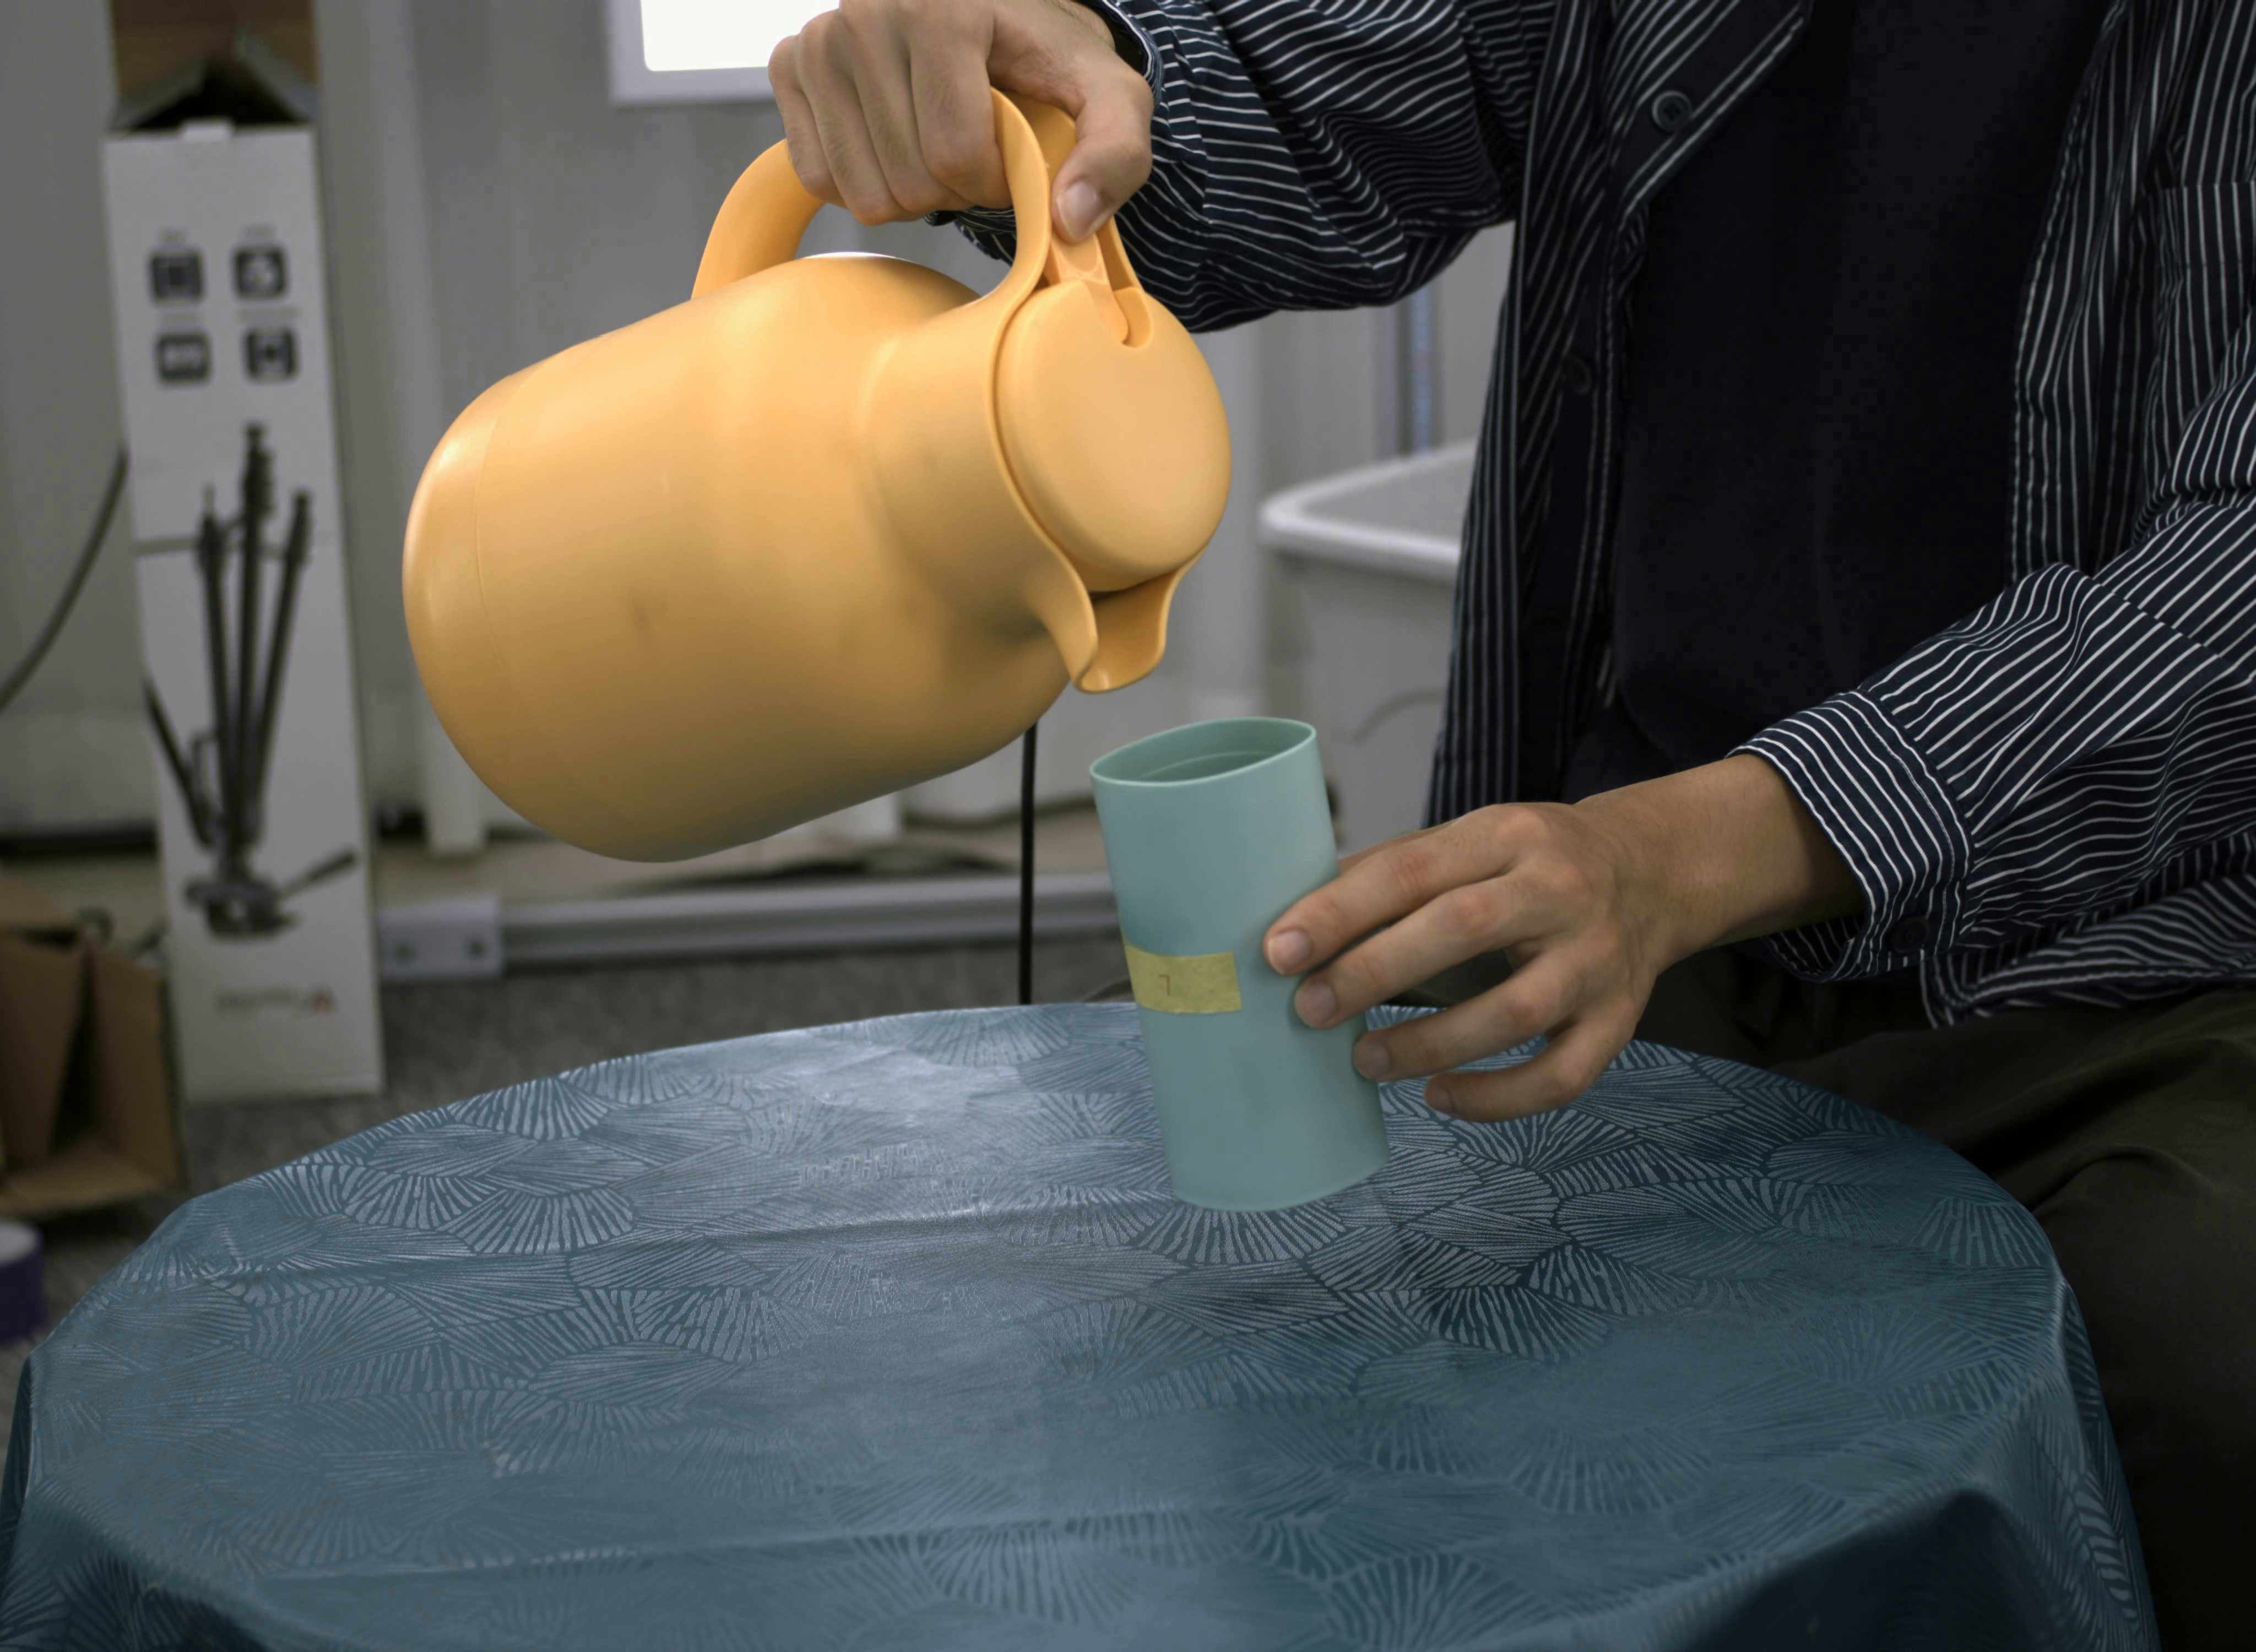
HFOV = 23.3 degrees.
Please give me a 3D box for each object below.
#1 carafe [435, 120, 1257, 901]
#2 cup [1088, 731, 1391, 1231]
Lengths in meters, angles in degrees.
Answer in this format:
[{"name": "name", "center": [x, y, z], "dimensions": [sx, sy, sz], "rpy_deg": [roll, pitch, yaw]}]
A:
[{"name": "carafe", "center": [-0.081, -0.096, 1.657], "dimensions": [0.260, 0.204, 0.162], "rpy_deg": [-17, -15, 41]}, {"name": "cup", "center": [0.034, 0.044, 1.582], "dimensions": [0.066, 0.132, 0.067], "rpy_deg": [-11, 13, 2]}]
